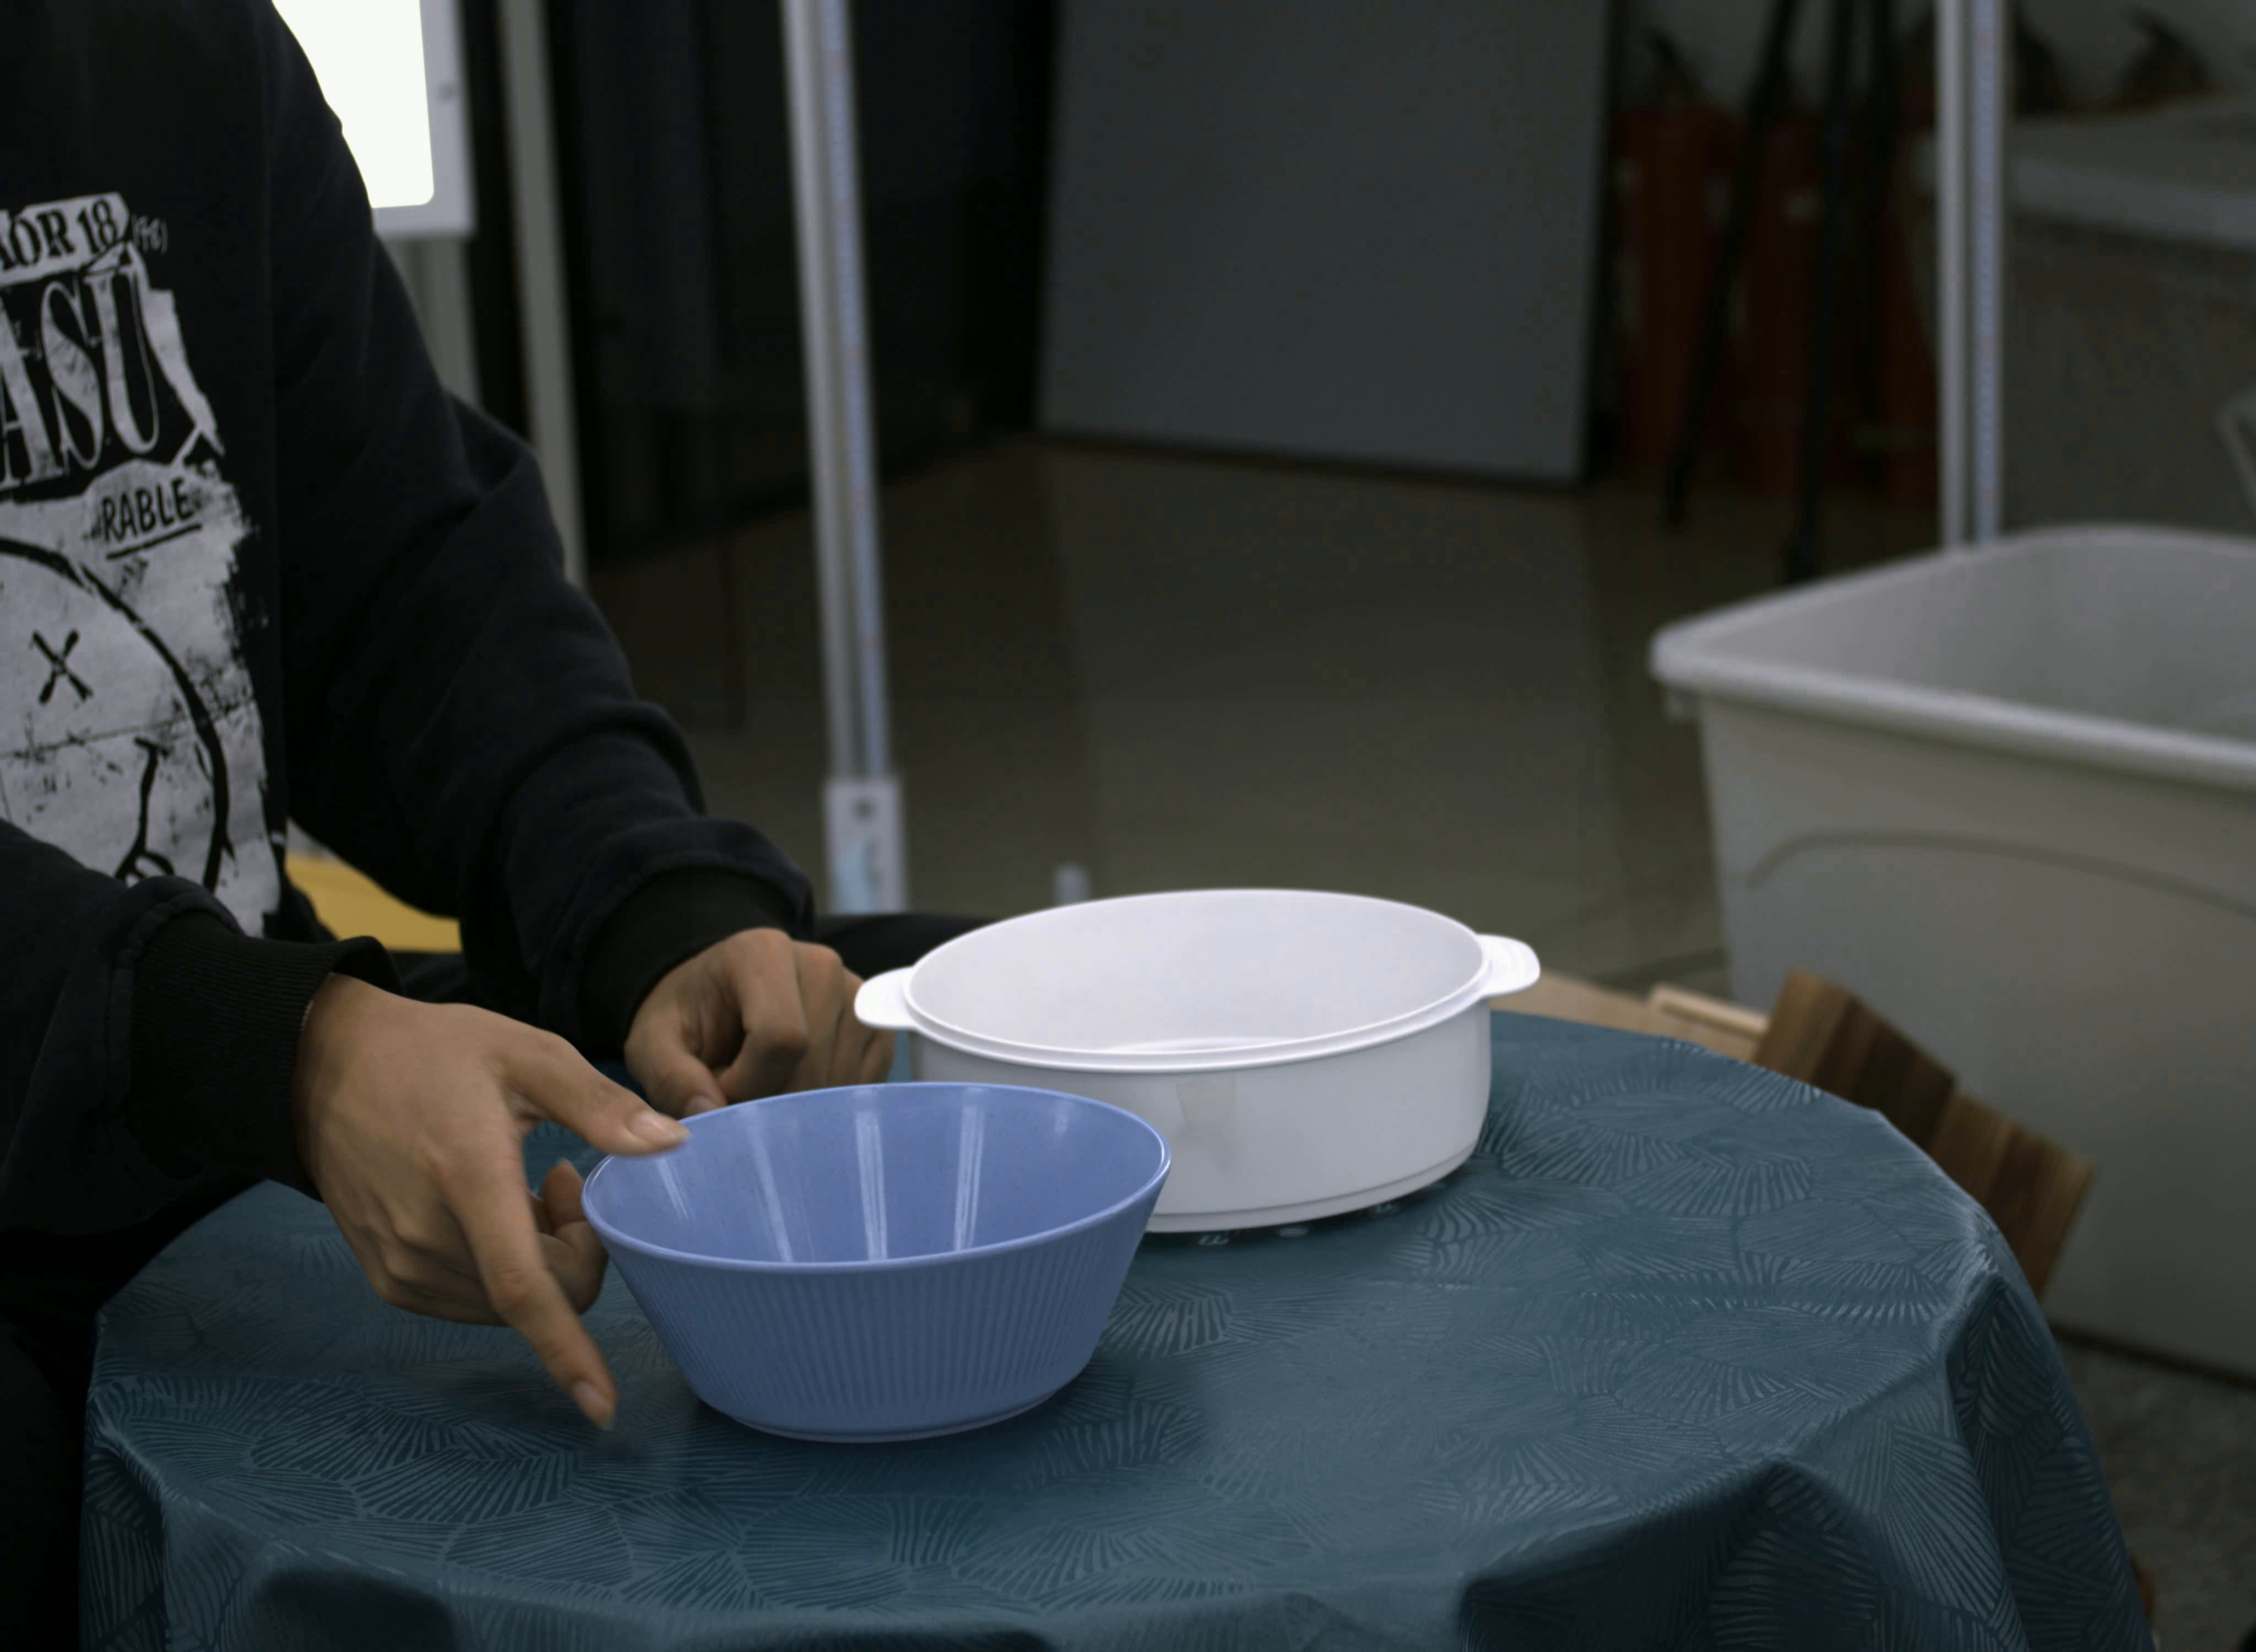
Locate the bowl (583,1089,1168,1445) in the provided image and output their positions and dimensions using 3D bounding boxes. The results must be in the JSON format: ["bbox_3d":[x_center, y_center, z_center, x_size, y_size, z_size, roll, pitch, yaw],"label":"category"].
[{"bbox_3d":[-0.072,0.133,1.598,0.174,0.071,0.176,-4,13,0],"label":"bowl"}]

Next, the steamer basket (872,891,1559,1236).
[{"bbox_3d":[0.030,0.078,1.793,0.227,0.070,0.202,-2,14,1],"label":"steamer basket"}]
